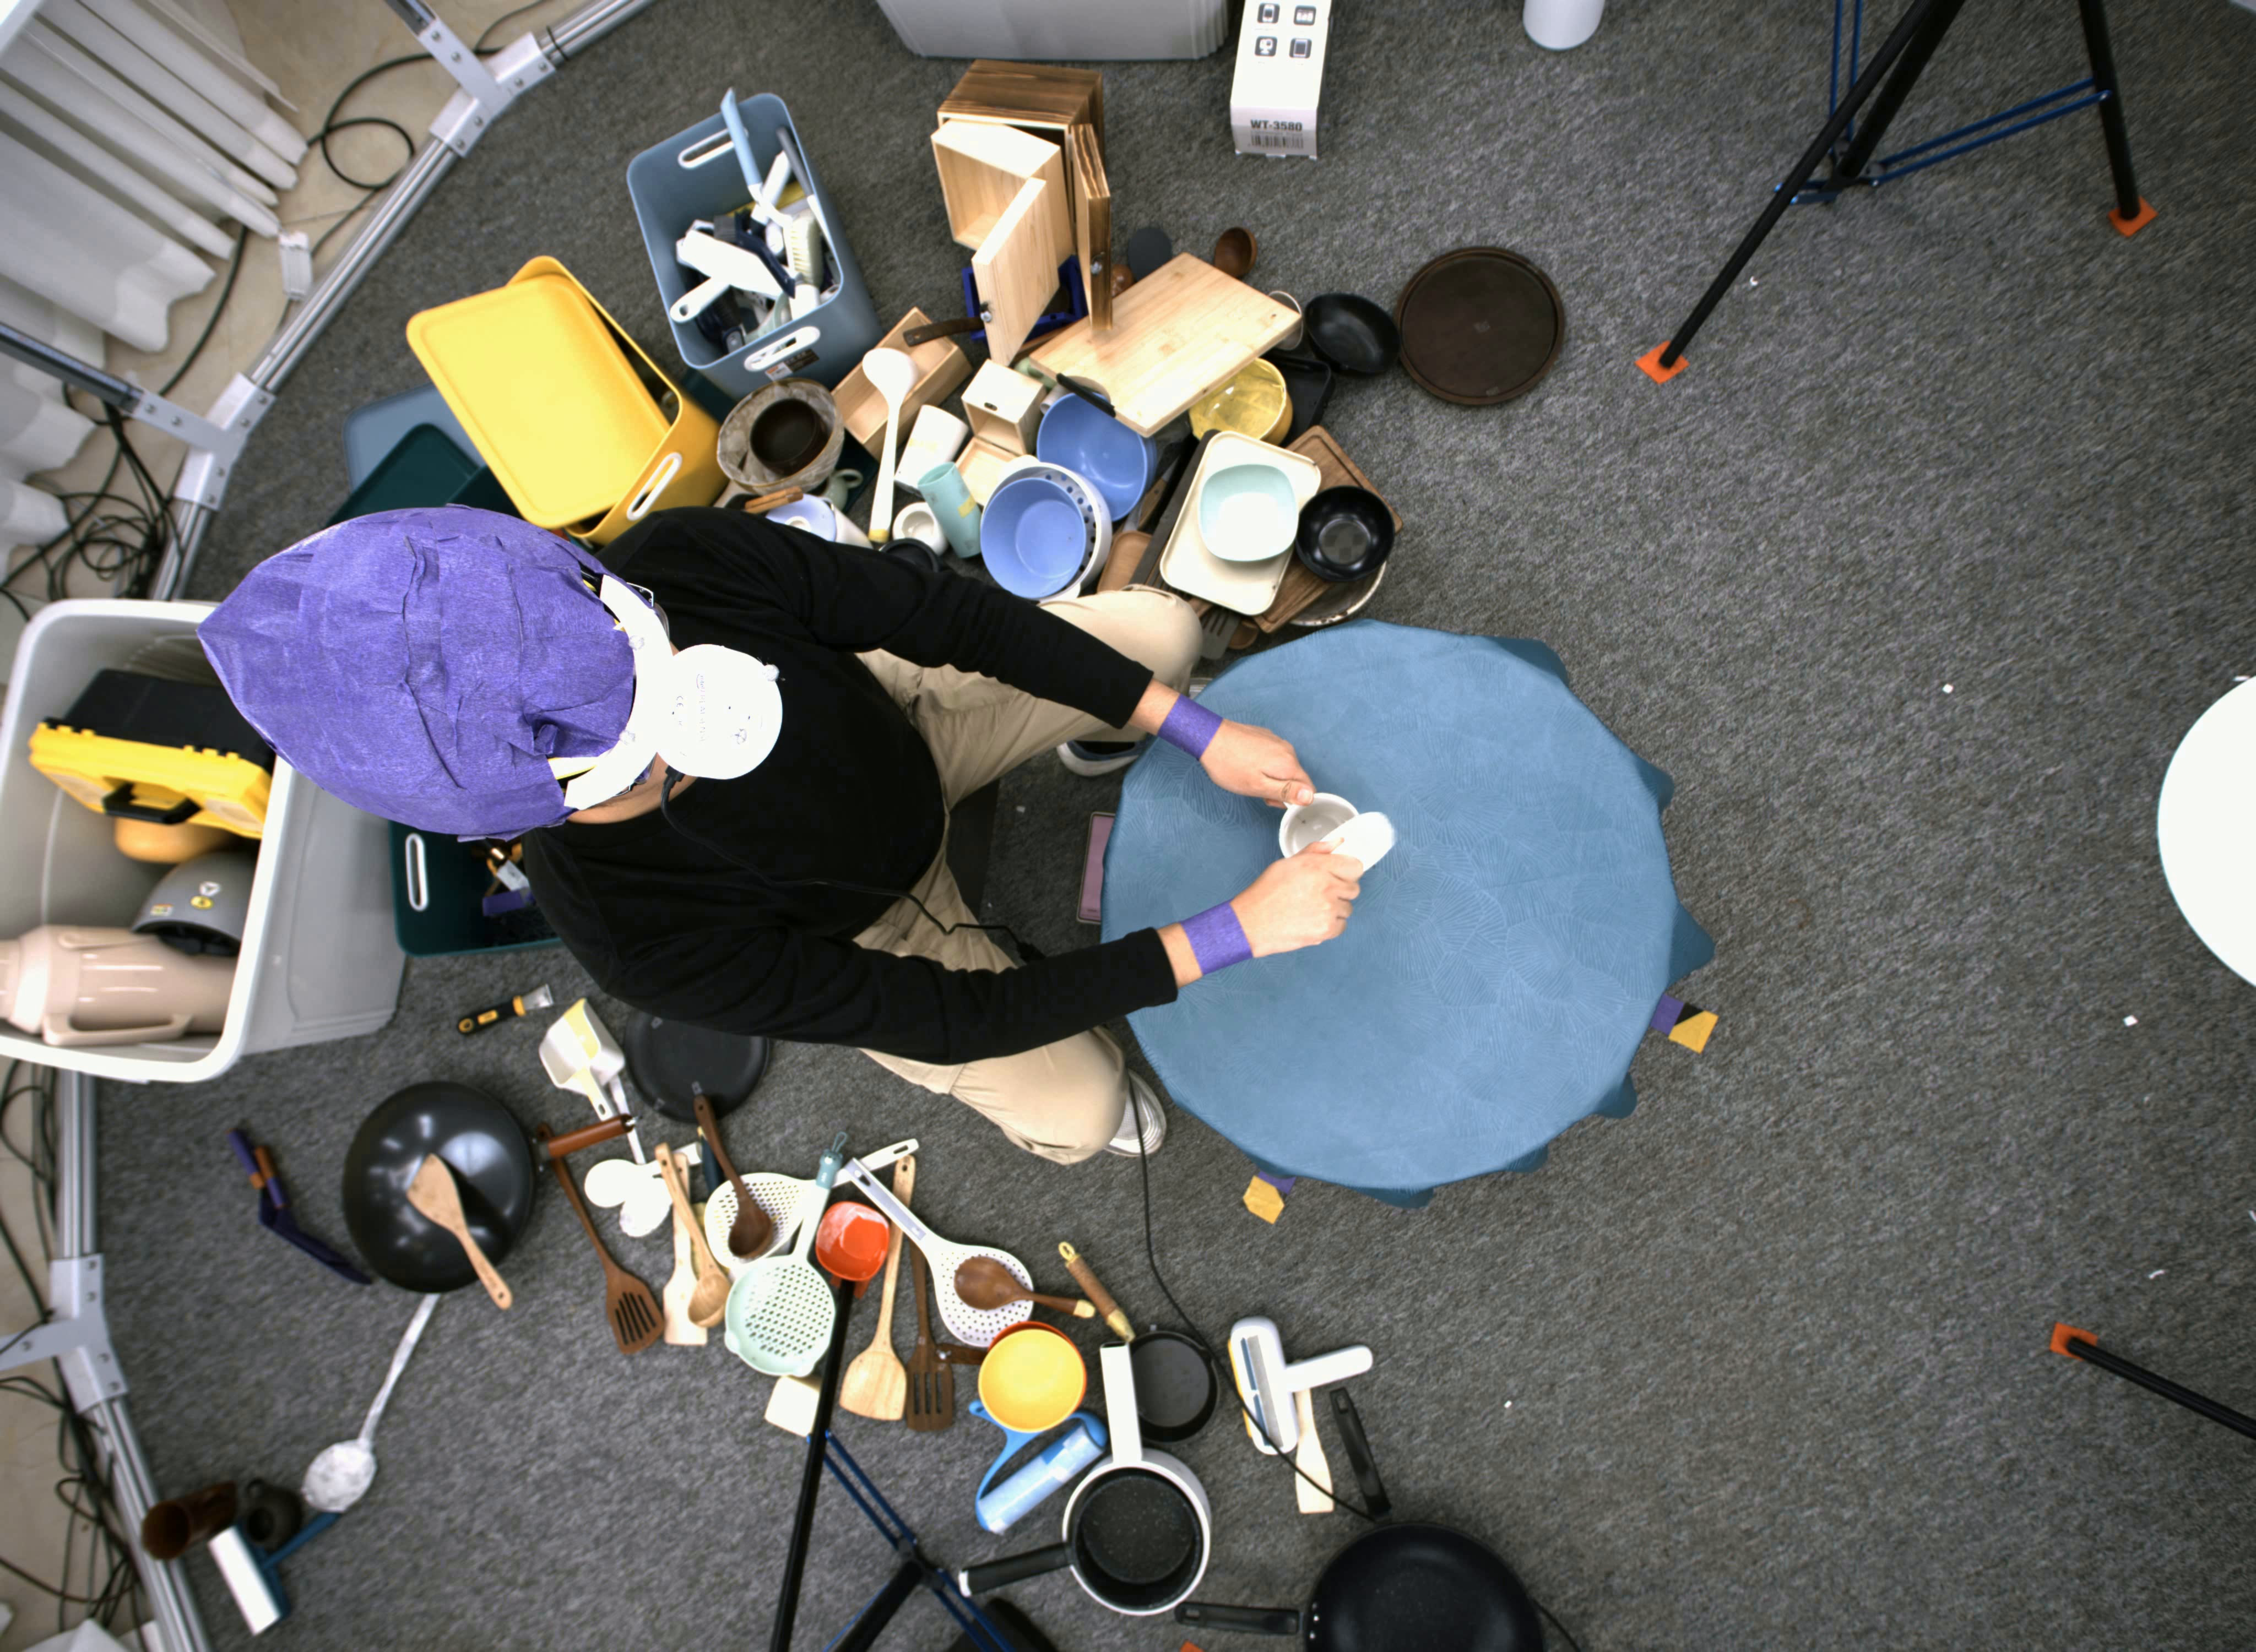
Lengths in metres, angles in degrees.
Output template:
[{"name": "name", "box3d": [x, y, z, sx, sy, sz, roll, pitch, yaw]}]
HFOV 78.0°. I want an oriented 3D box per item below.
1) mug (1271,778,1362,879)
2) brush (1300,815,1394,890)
[{"name": "mug", "box3d": [0.191, 0.001, 1.425, 0.085, 0.102, 0.117, -41, 79, 3]}, {"name": "brush", "box3d": [0.212, 0.025, 1.337, 0.100, 0.072, 0.050, -32, 84, 6]}]
